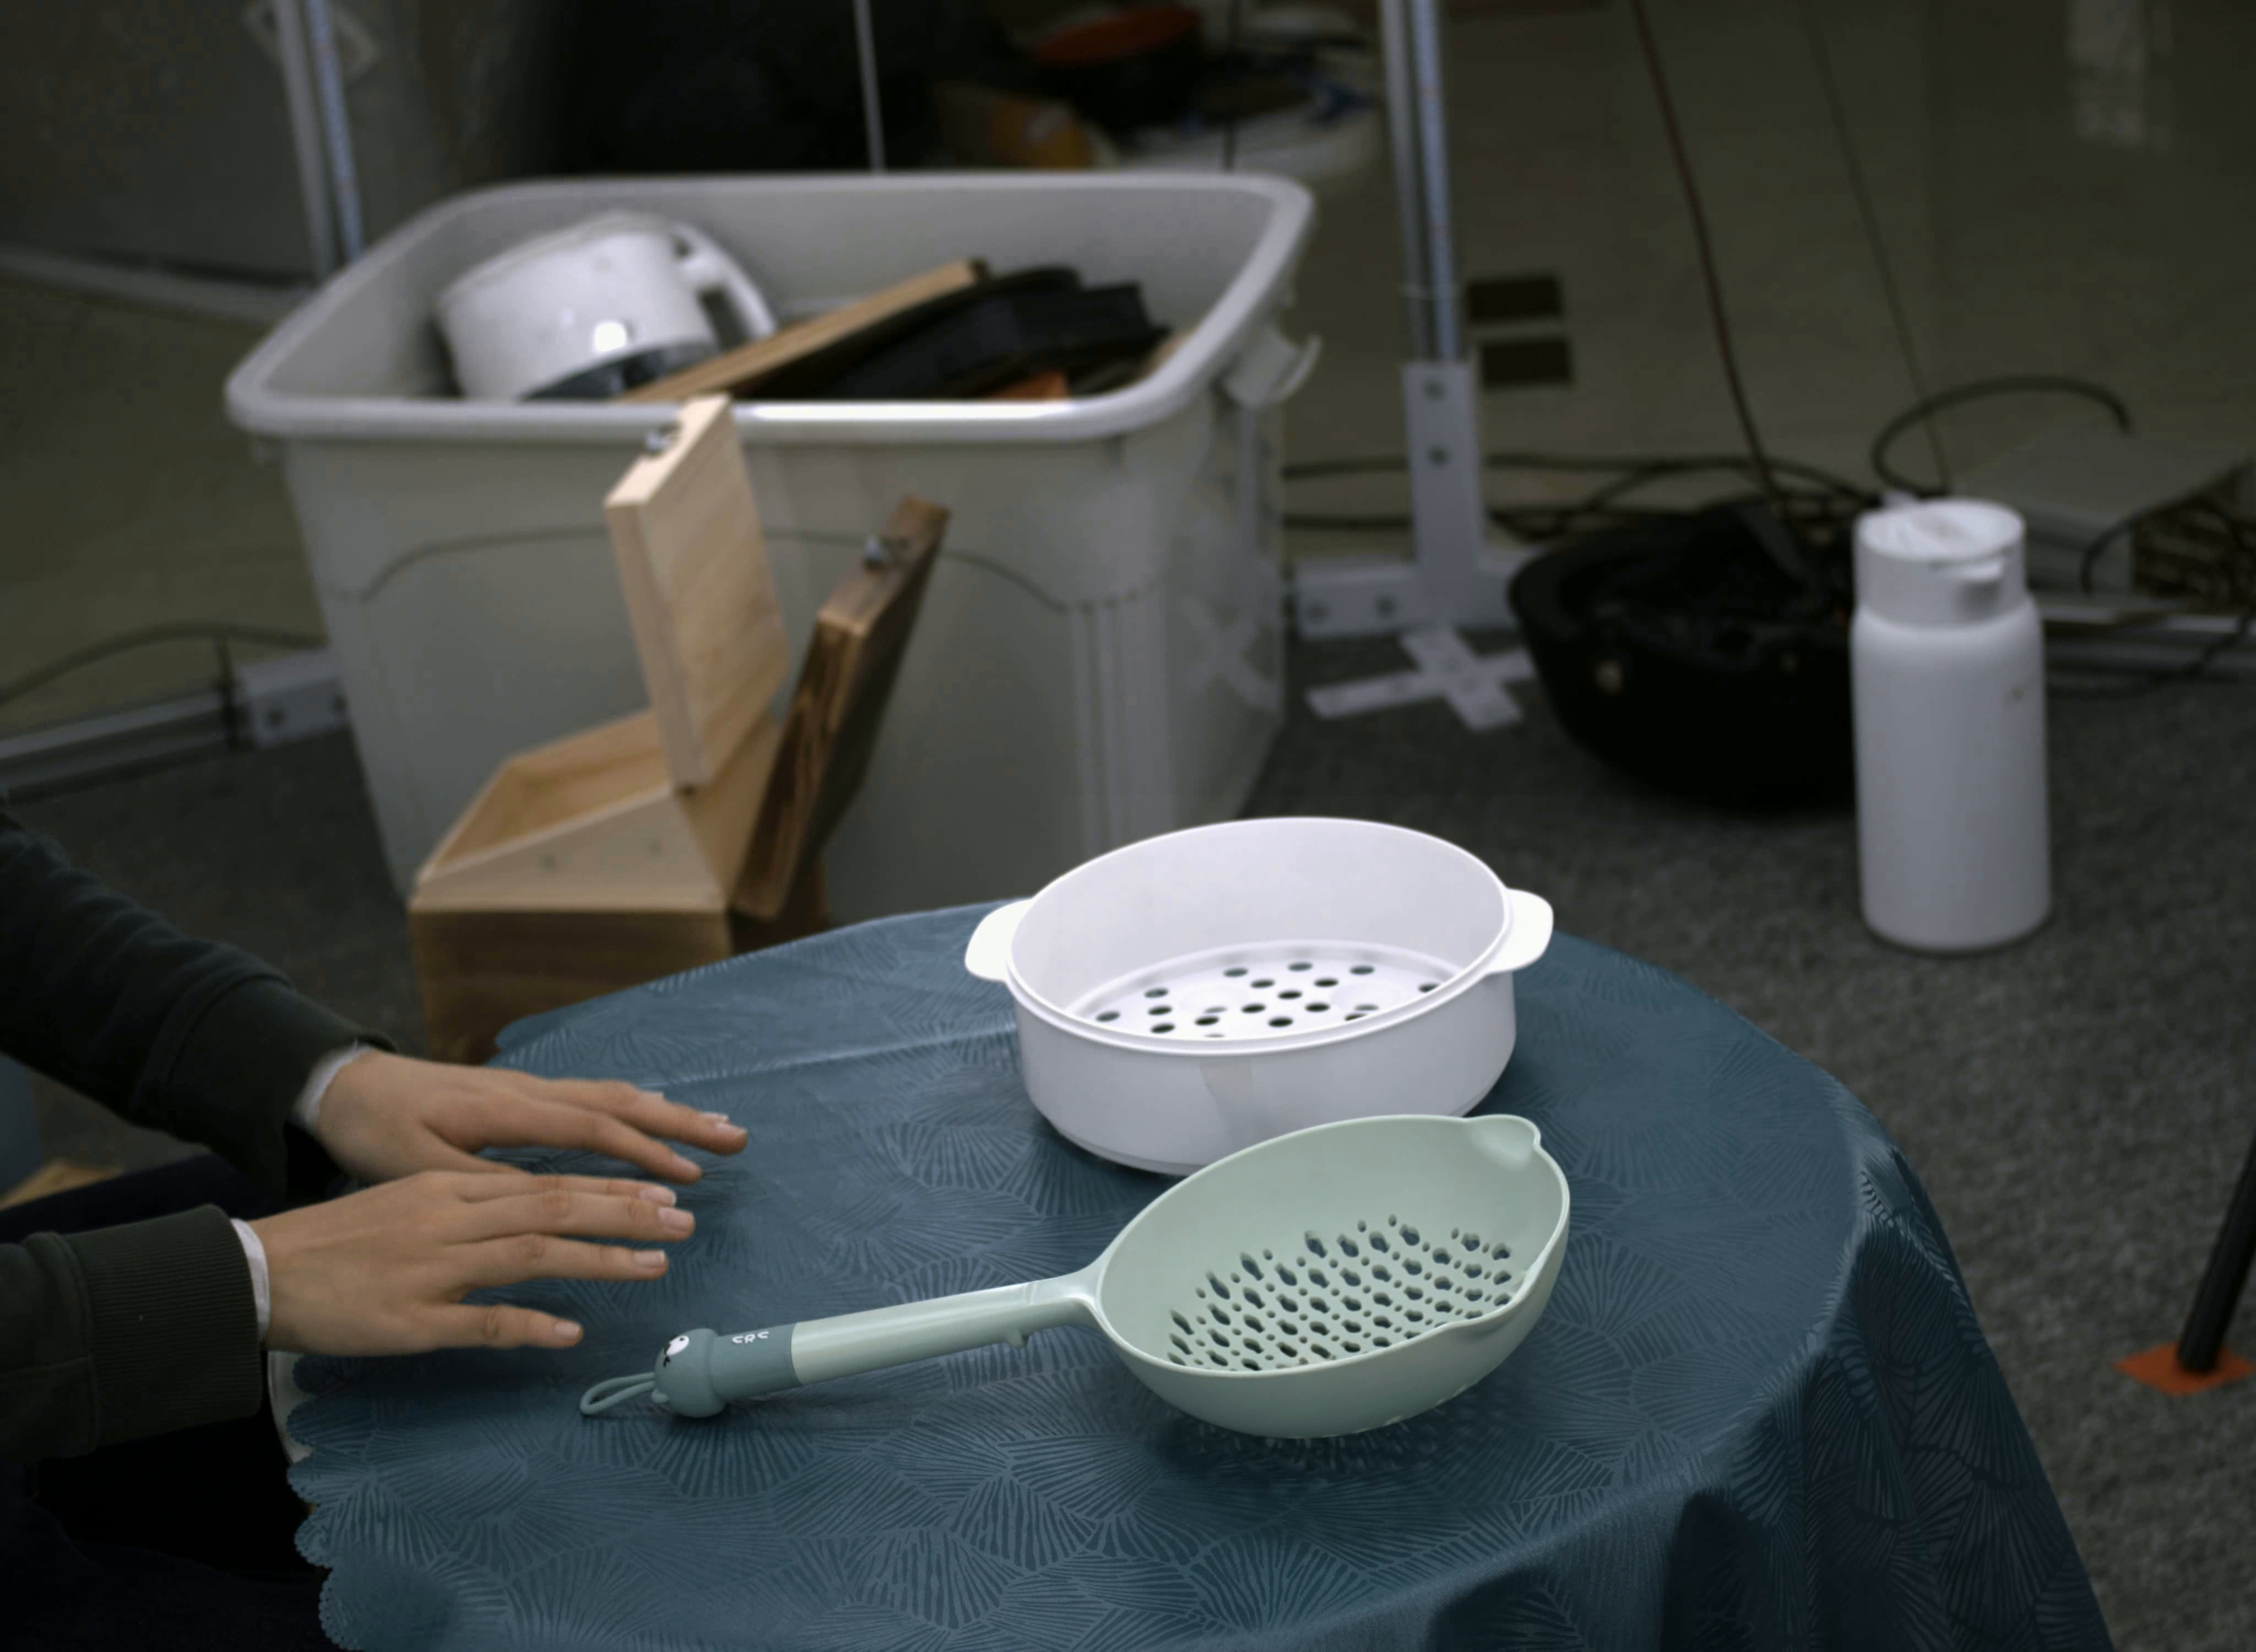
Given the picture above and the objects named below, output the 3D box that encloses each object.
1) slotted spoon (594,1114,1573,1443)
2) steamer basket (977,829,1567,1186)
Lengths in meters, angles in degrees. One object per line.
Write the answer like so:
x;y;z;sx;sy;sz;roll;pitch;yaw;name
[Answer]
-0.020;0.173;2.007;0.358;0.076;0.167;-3;27;8;slotted spoon
0.058;0.071;2.209;0.230;0.070;0.199;-2;24;10;steamer basket
